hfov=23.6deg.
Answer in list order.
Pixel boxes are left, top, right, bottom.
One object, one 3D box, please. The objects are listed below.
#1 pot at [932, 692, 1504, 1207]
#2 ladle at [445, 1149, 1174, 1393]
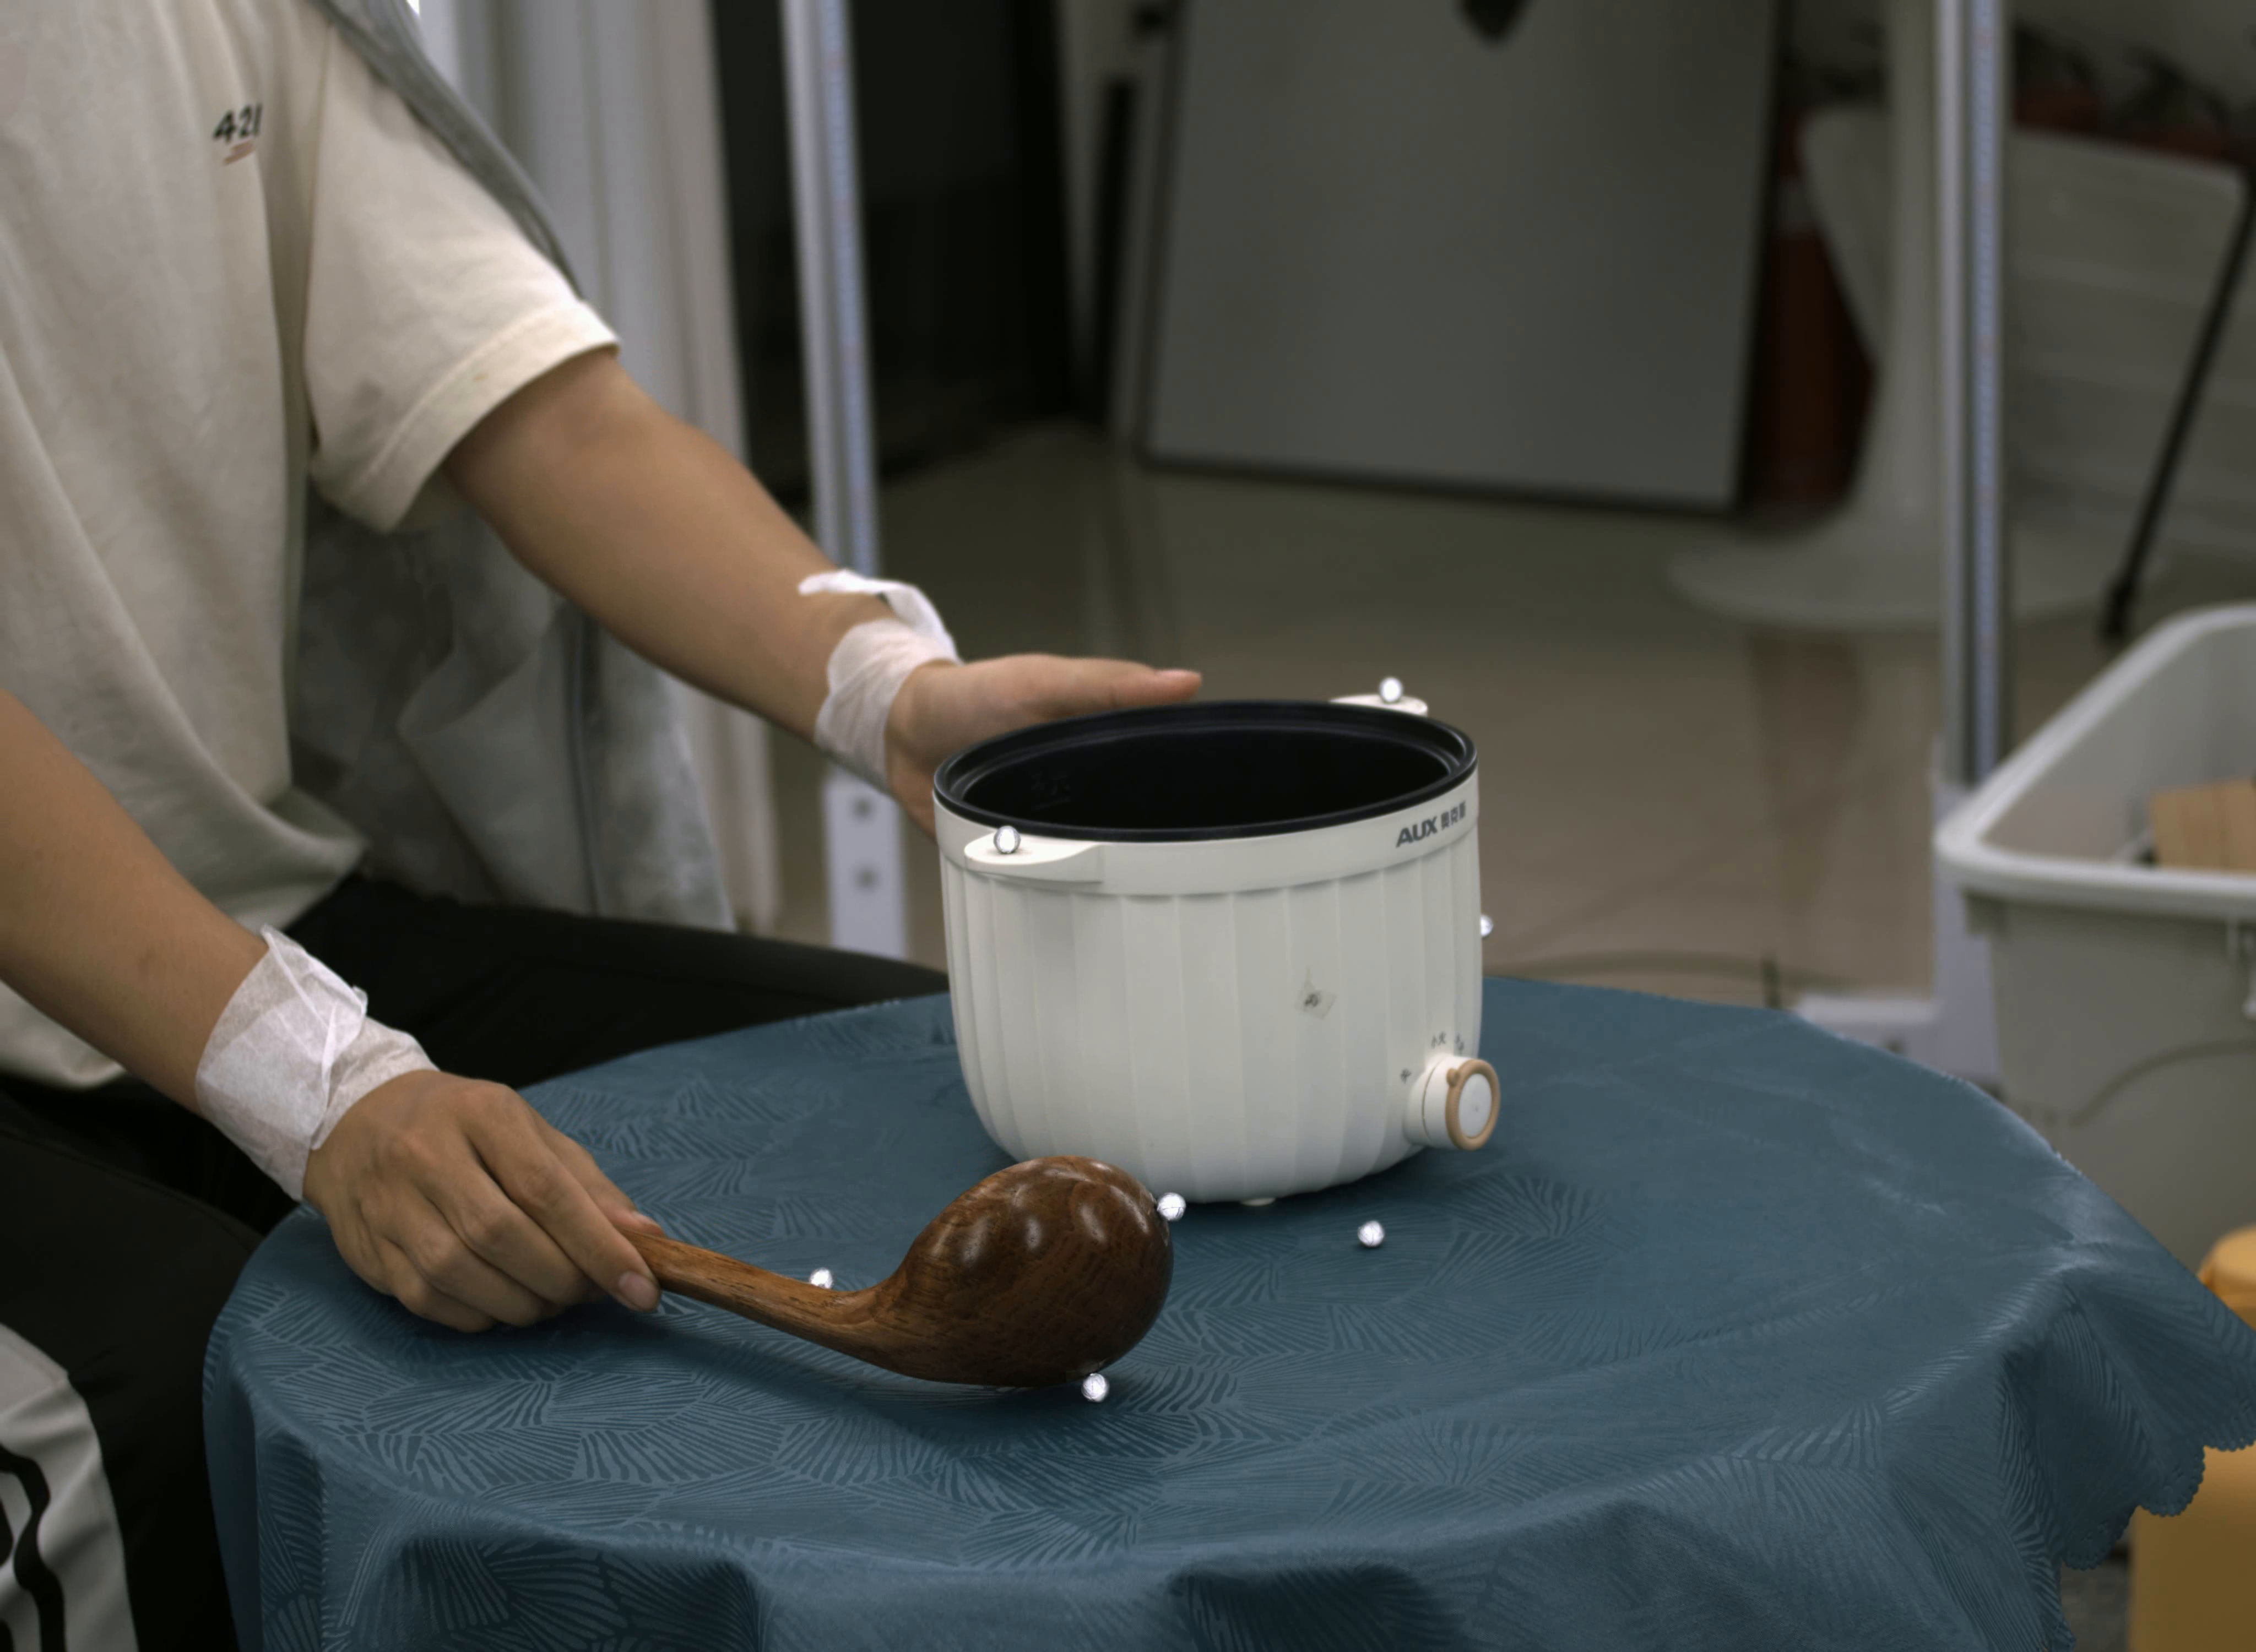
[{"bbox_3d":[0.034,0.043,1.790,0.192,0.144,0.236,2,16,36],"label":"pot"},{"bbox_3d":[-0.101,0.123,1.647,0.276,0.081,0.076,7,54,44],"label":"ladle"}]
